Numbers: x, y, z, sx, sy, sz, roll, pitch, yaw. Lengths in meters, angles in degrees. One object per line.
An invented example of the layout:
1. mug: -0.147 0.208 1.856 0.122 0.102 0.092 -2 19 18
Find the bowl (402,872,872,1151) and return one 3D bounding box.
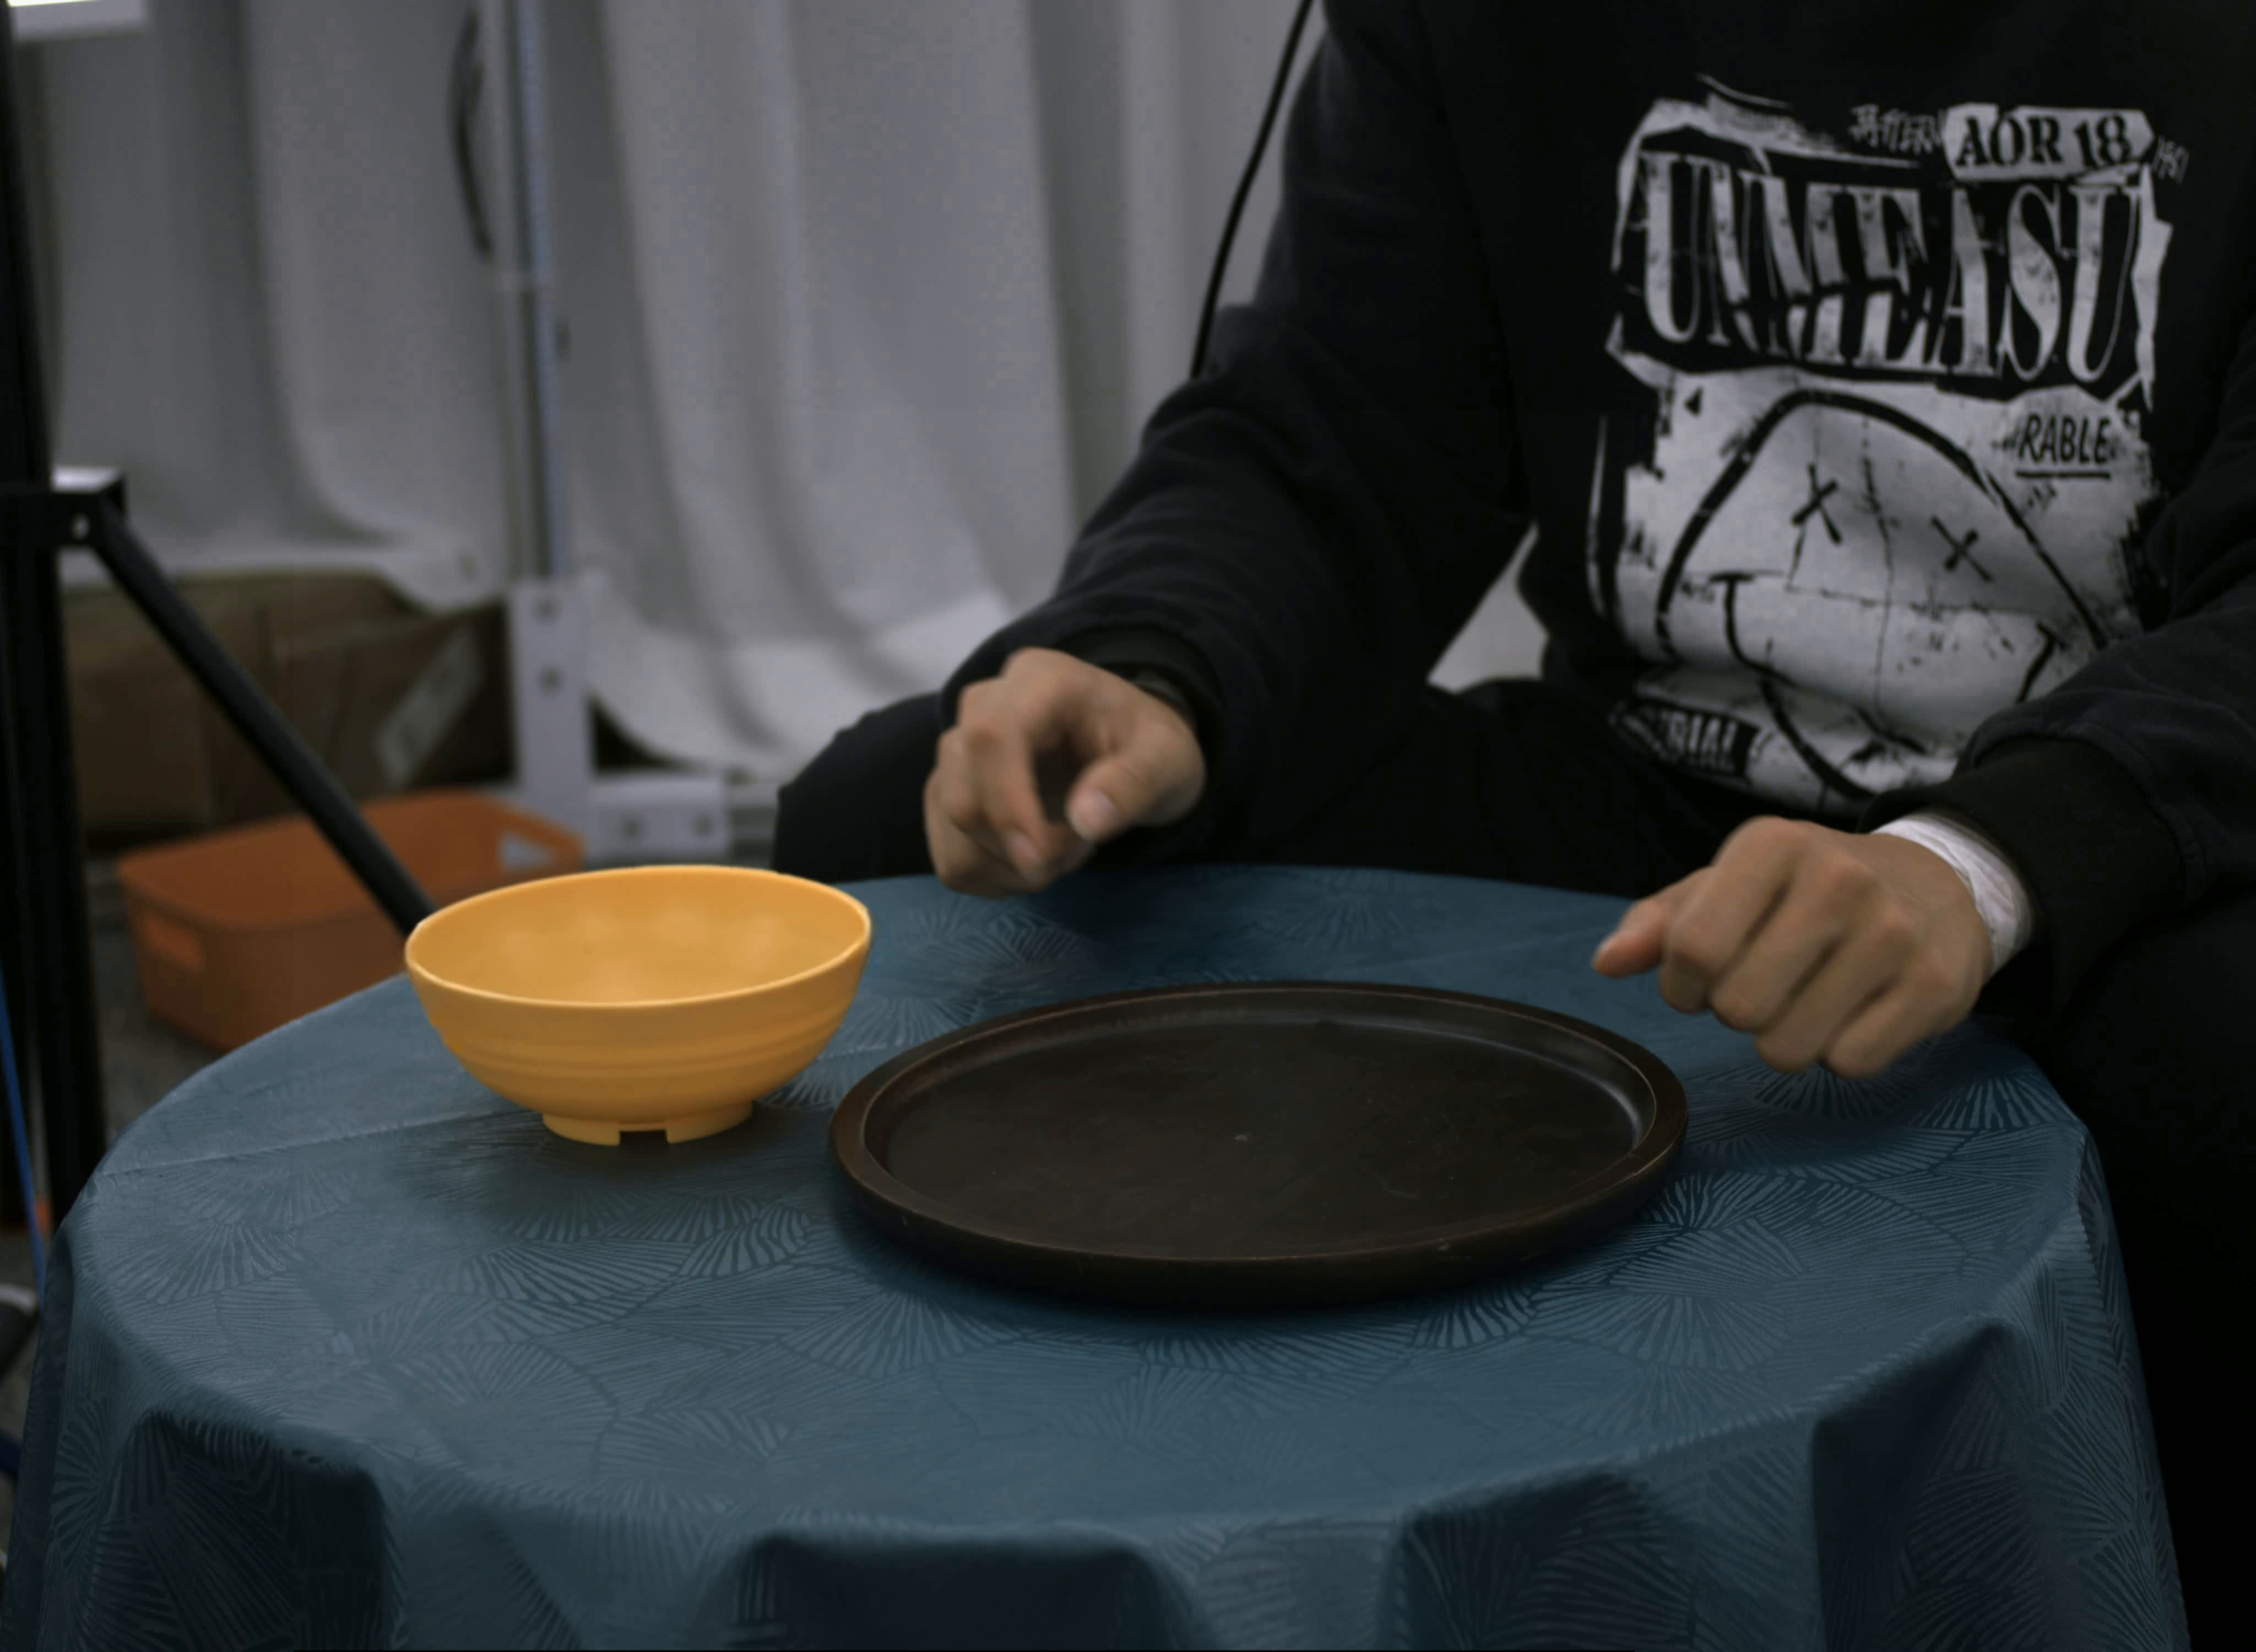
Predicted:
1. bowl: -0.151 0.062 1.645 0.144 0.060 0.146 0 15 -1

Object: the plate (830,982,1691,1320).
1. plate: 0.039 0.094 1.562 0.253 0.029 0.256 -4 14 0
